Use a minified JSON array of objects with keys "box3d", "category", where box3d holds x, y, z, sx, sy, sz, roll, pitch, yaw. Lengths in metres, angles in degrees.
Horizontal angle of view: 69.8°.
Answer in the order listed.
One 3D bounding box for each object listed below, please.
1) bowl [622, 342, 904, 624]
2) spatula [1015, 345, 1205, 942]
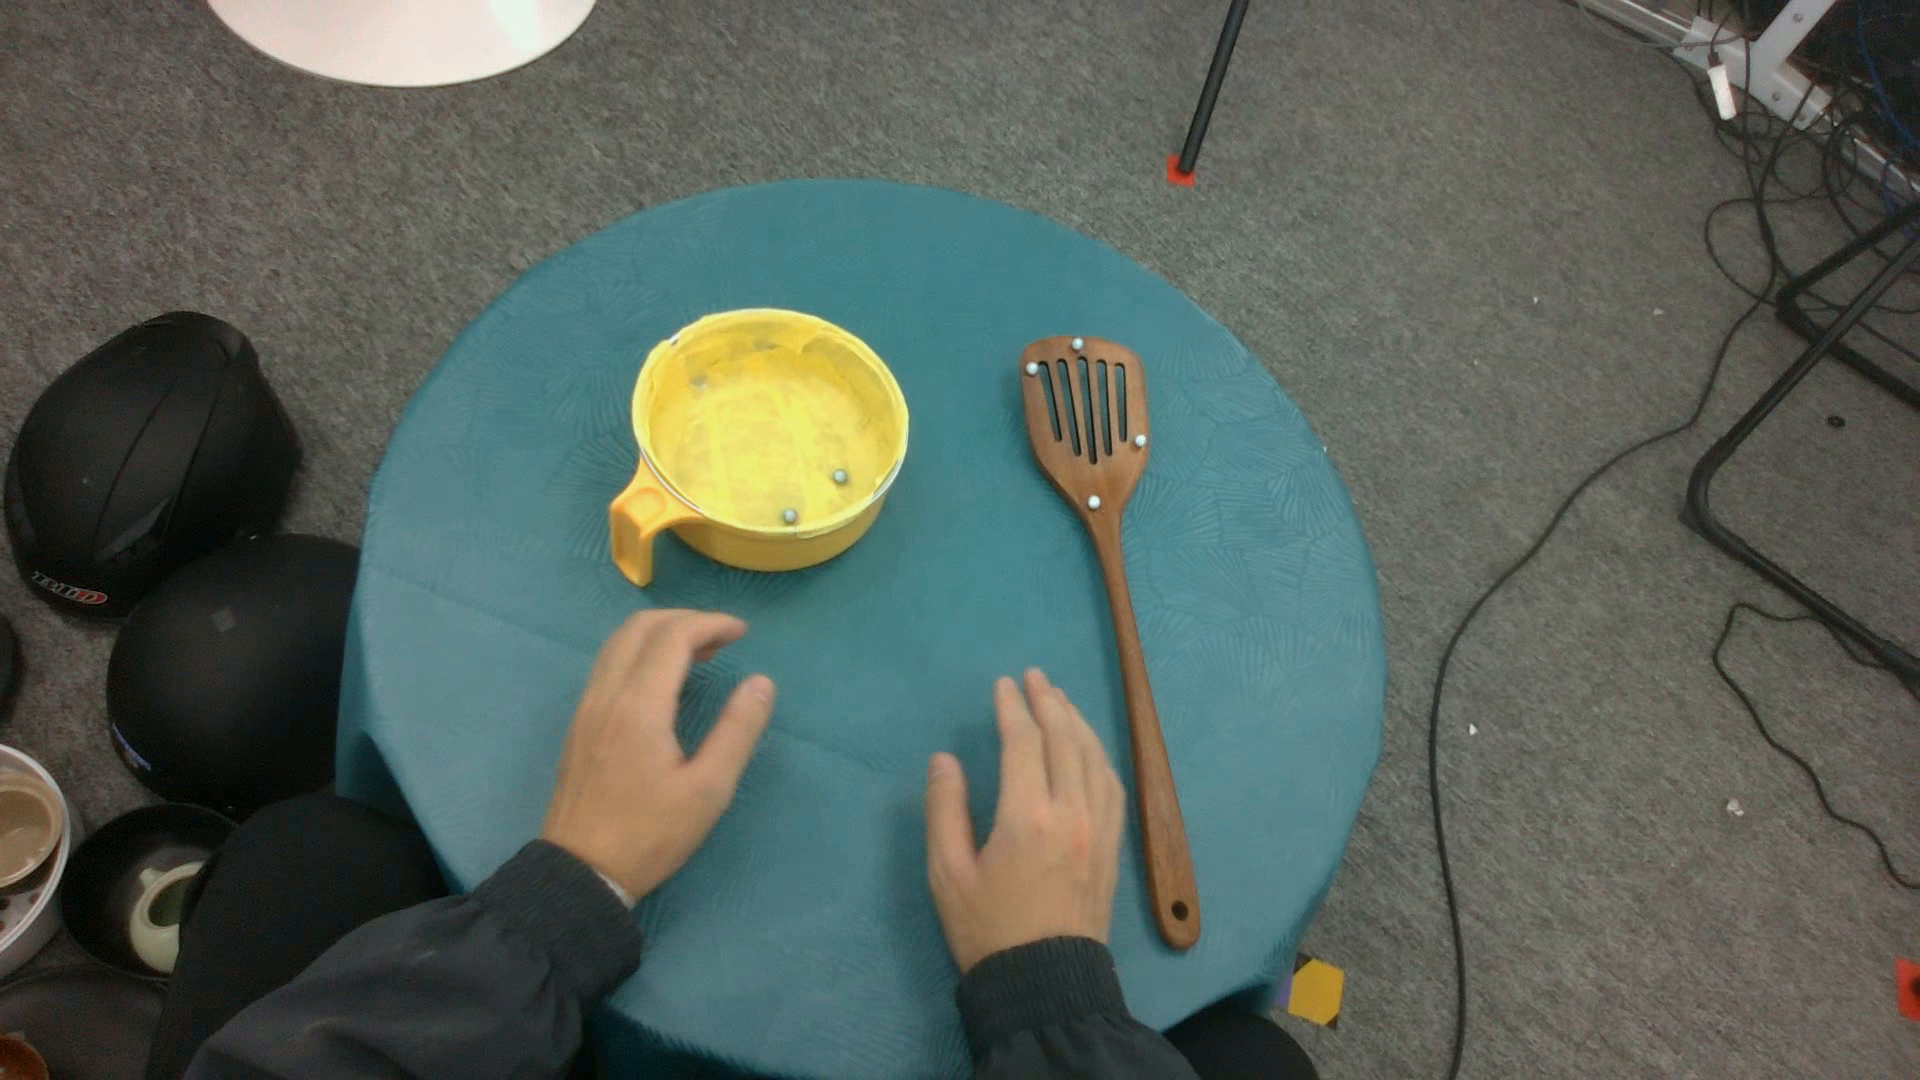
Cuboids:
[{"box3d":[-0.121,-0.031,0.800,0.153,0.074,0.180,35,58,13],"category":"bowl"},{"box3d":[0.096,0.044,0.818,0.085,0.024,0.388,-2,60,-11],"category":"spatula"}]
